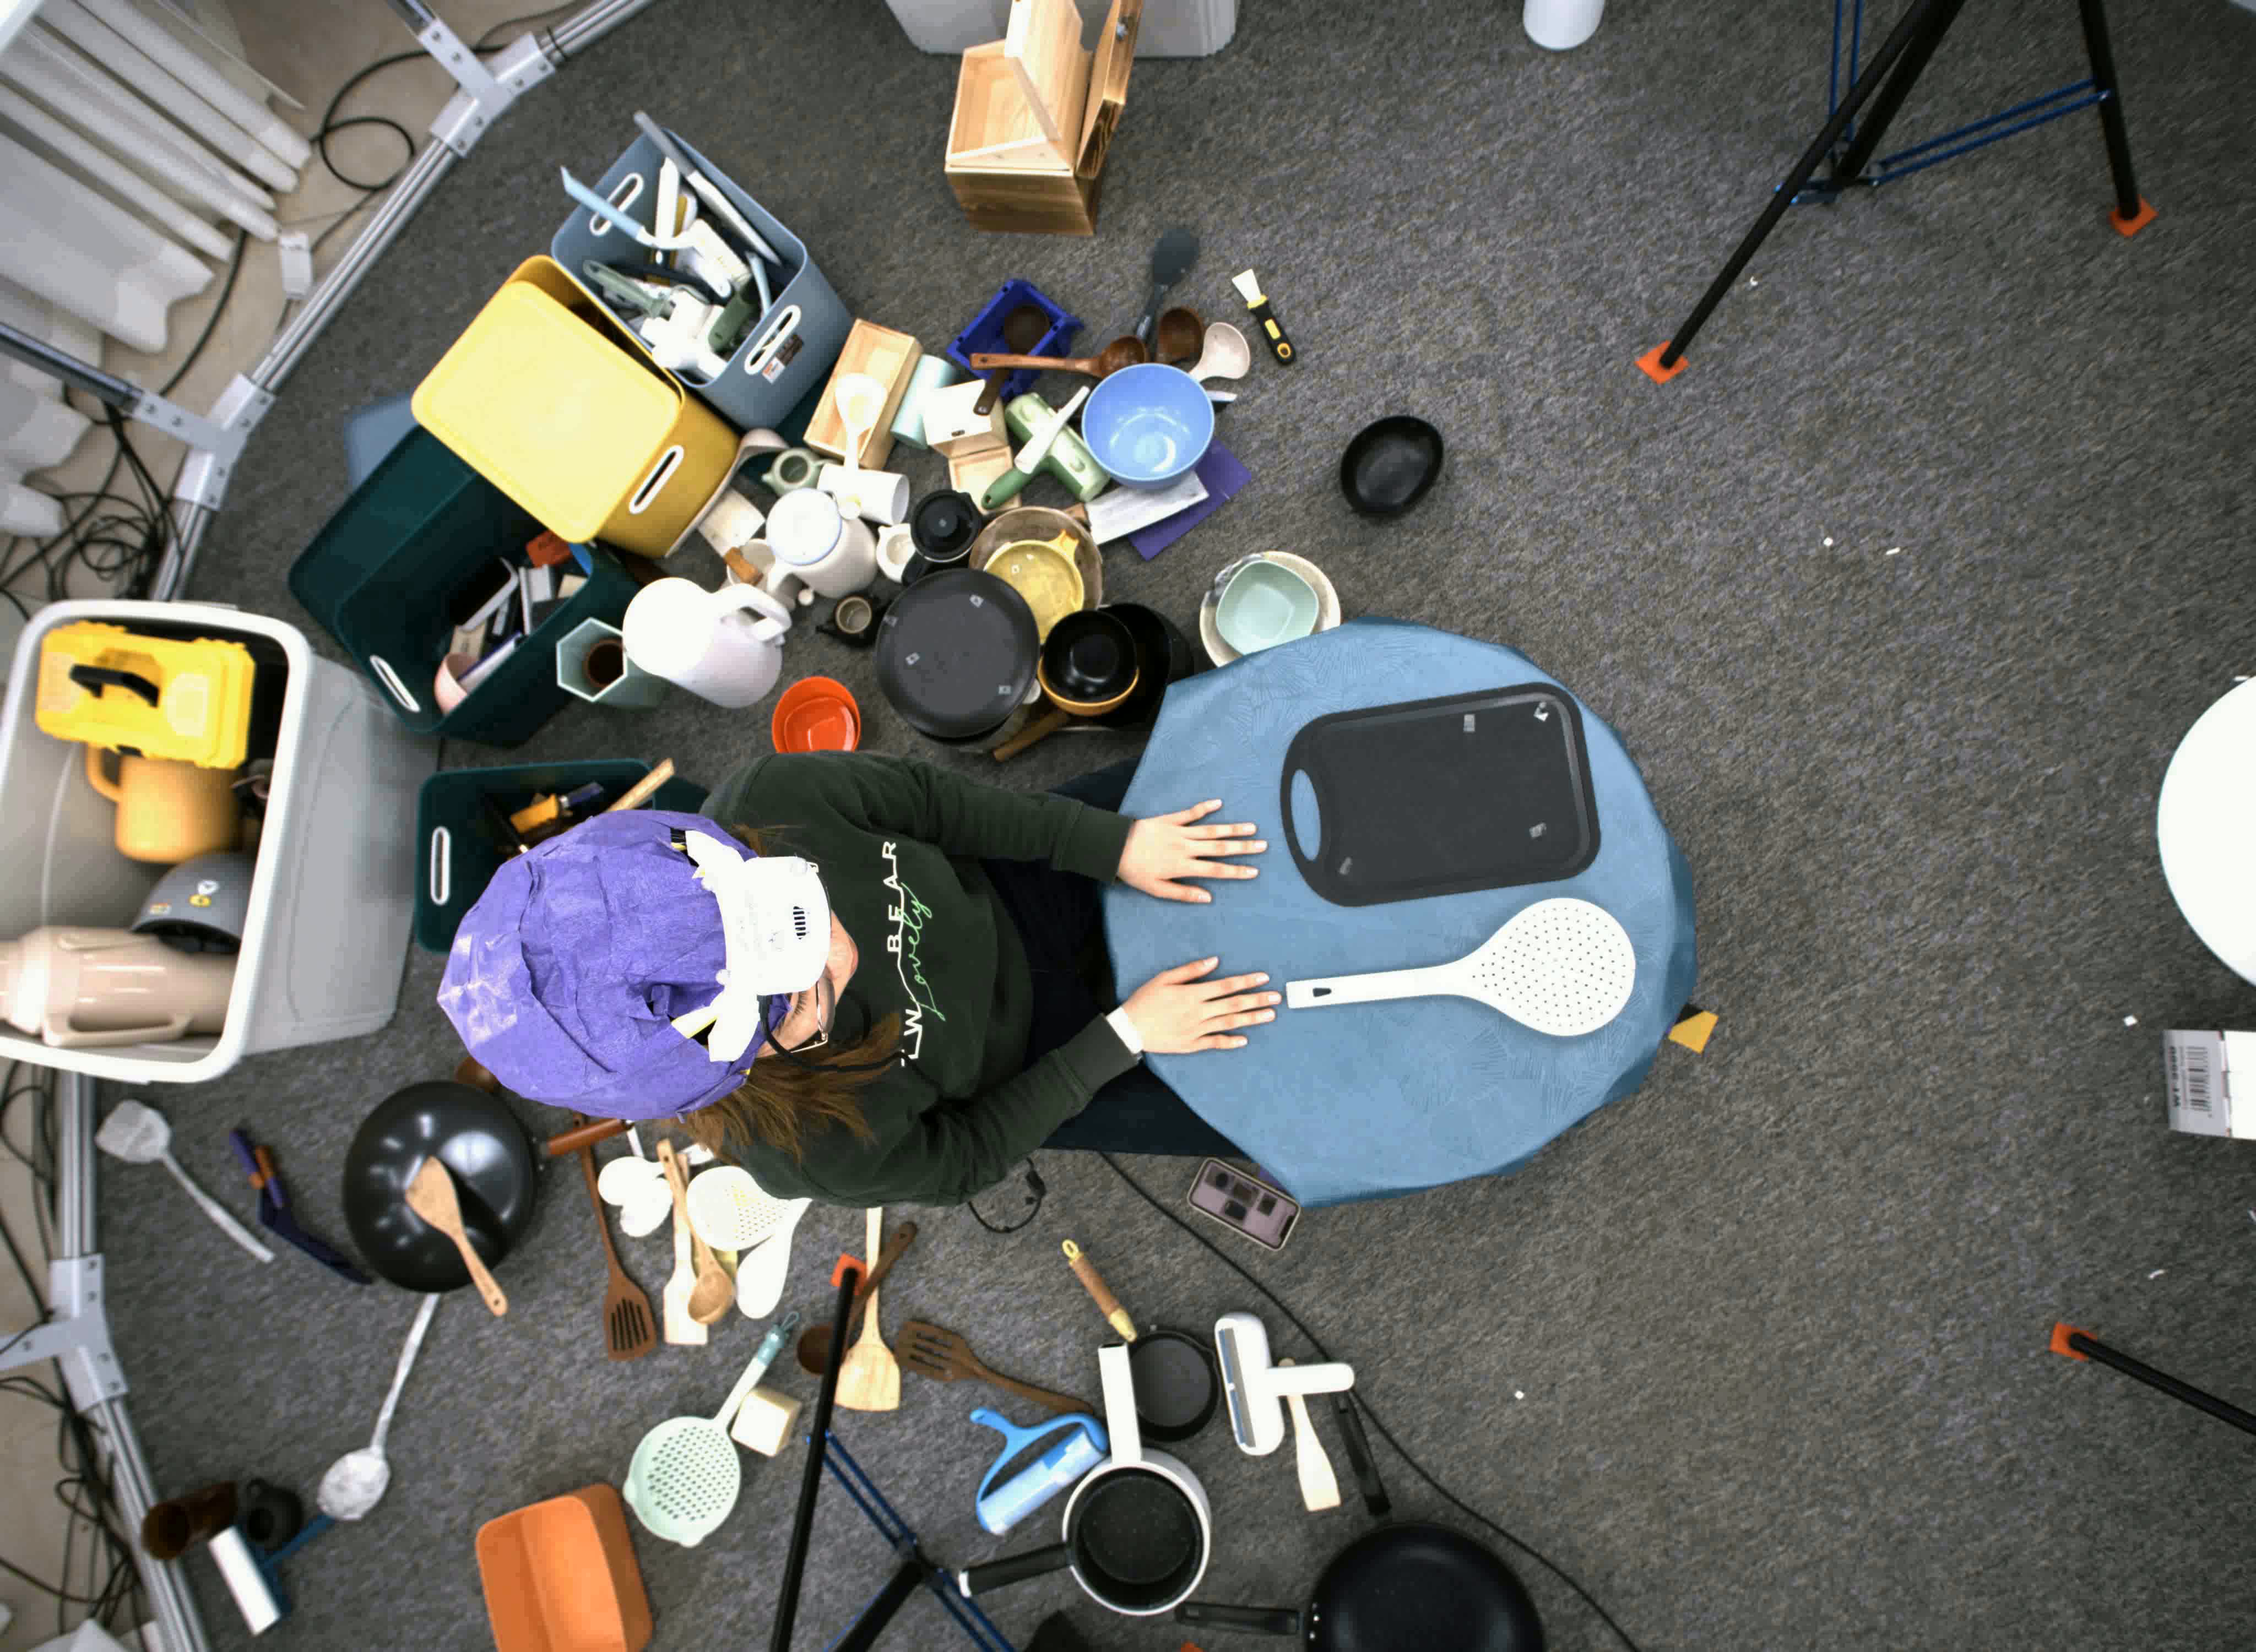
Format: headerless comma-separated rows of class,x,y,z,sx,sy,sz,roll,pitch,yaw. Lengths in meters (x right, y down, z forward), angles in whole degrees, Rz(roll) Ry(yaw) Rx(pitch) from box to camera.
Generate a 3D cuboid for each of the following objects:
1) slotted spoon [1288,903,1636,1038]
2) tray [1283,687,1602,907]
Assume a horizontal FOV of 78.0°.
slotted spoon,0.340,0.158,1.423,0.351,0.046,0.135,-7,82,11
tray,0.328,-0.031,1.458,0.327,0.010,0.210,-8,84,10
